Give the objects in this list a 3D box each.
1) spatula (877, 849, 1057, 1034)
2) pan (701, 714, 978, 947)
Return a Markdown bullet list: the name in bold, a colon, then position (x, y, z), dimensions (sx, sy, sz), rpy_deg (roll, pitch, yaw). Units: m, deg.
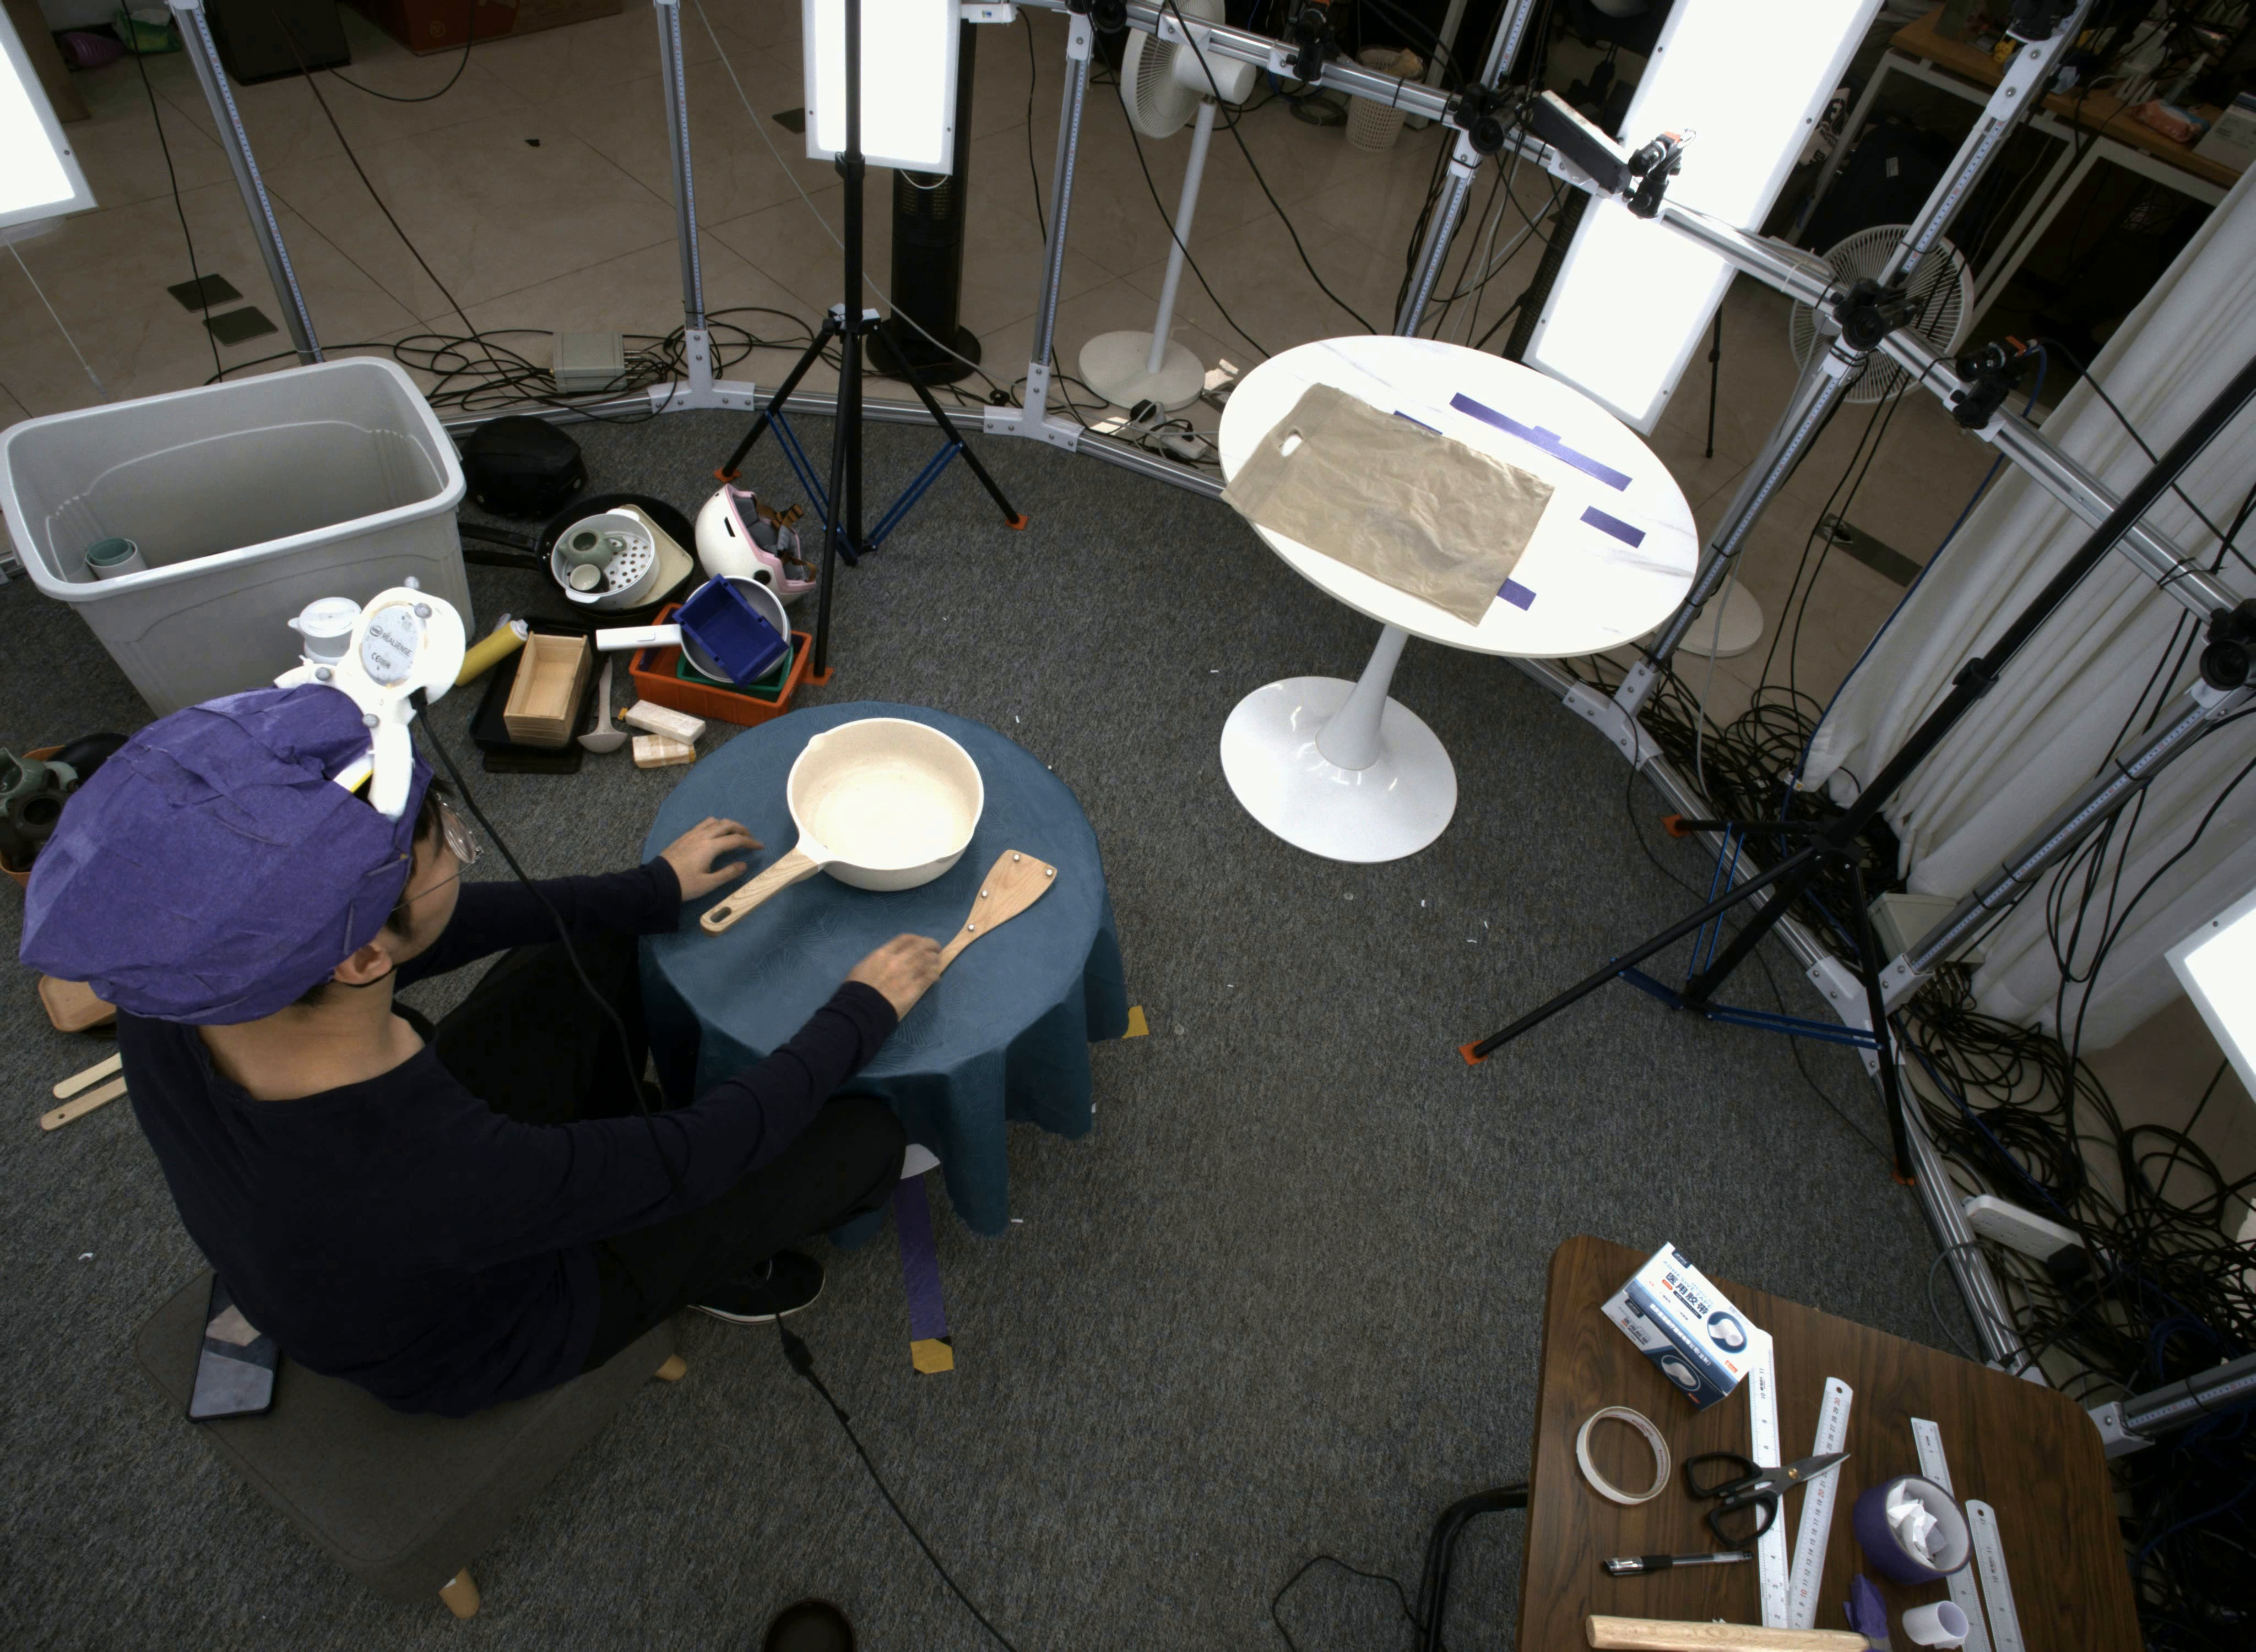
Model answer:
- **spatula**: position (-0.211, 0.142, 1.660), dimensions (0.078, 0.017, 0.327), rpy_deg (33, 54, 11)
- **pan**: position (-0.375, 0.025, 1.651), dimensions (0.258, 0.104, 0.434), rpy_deg (35, 54, 12)
